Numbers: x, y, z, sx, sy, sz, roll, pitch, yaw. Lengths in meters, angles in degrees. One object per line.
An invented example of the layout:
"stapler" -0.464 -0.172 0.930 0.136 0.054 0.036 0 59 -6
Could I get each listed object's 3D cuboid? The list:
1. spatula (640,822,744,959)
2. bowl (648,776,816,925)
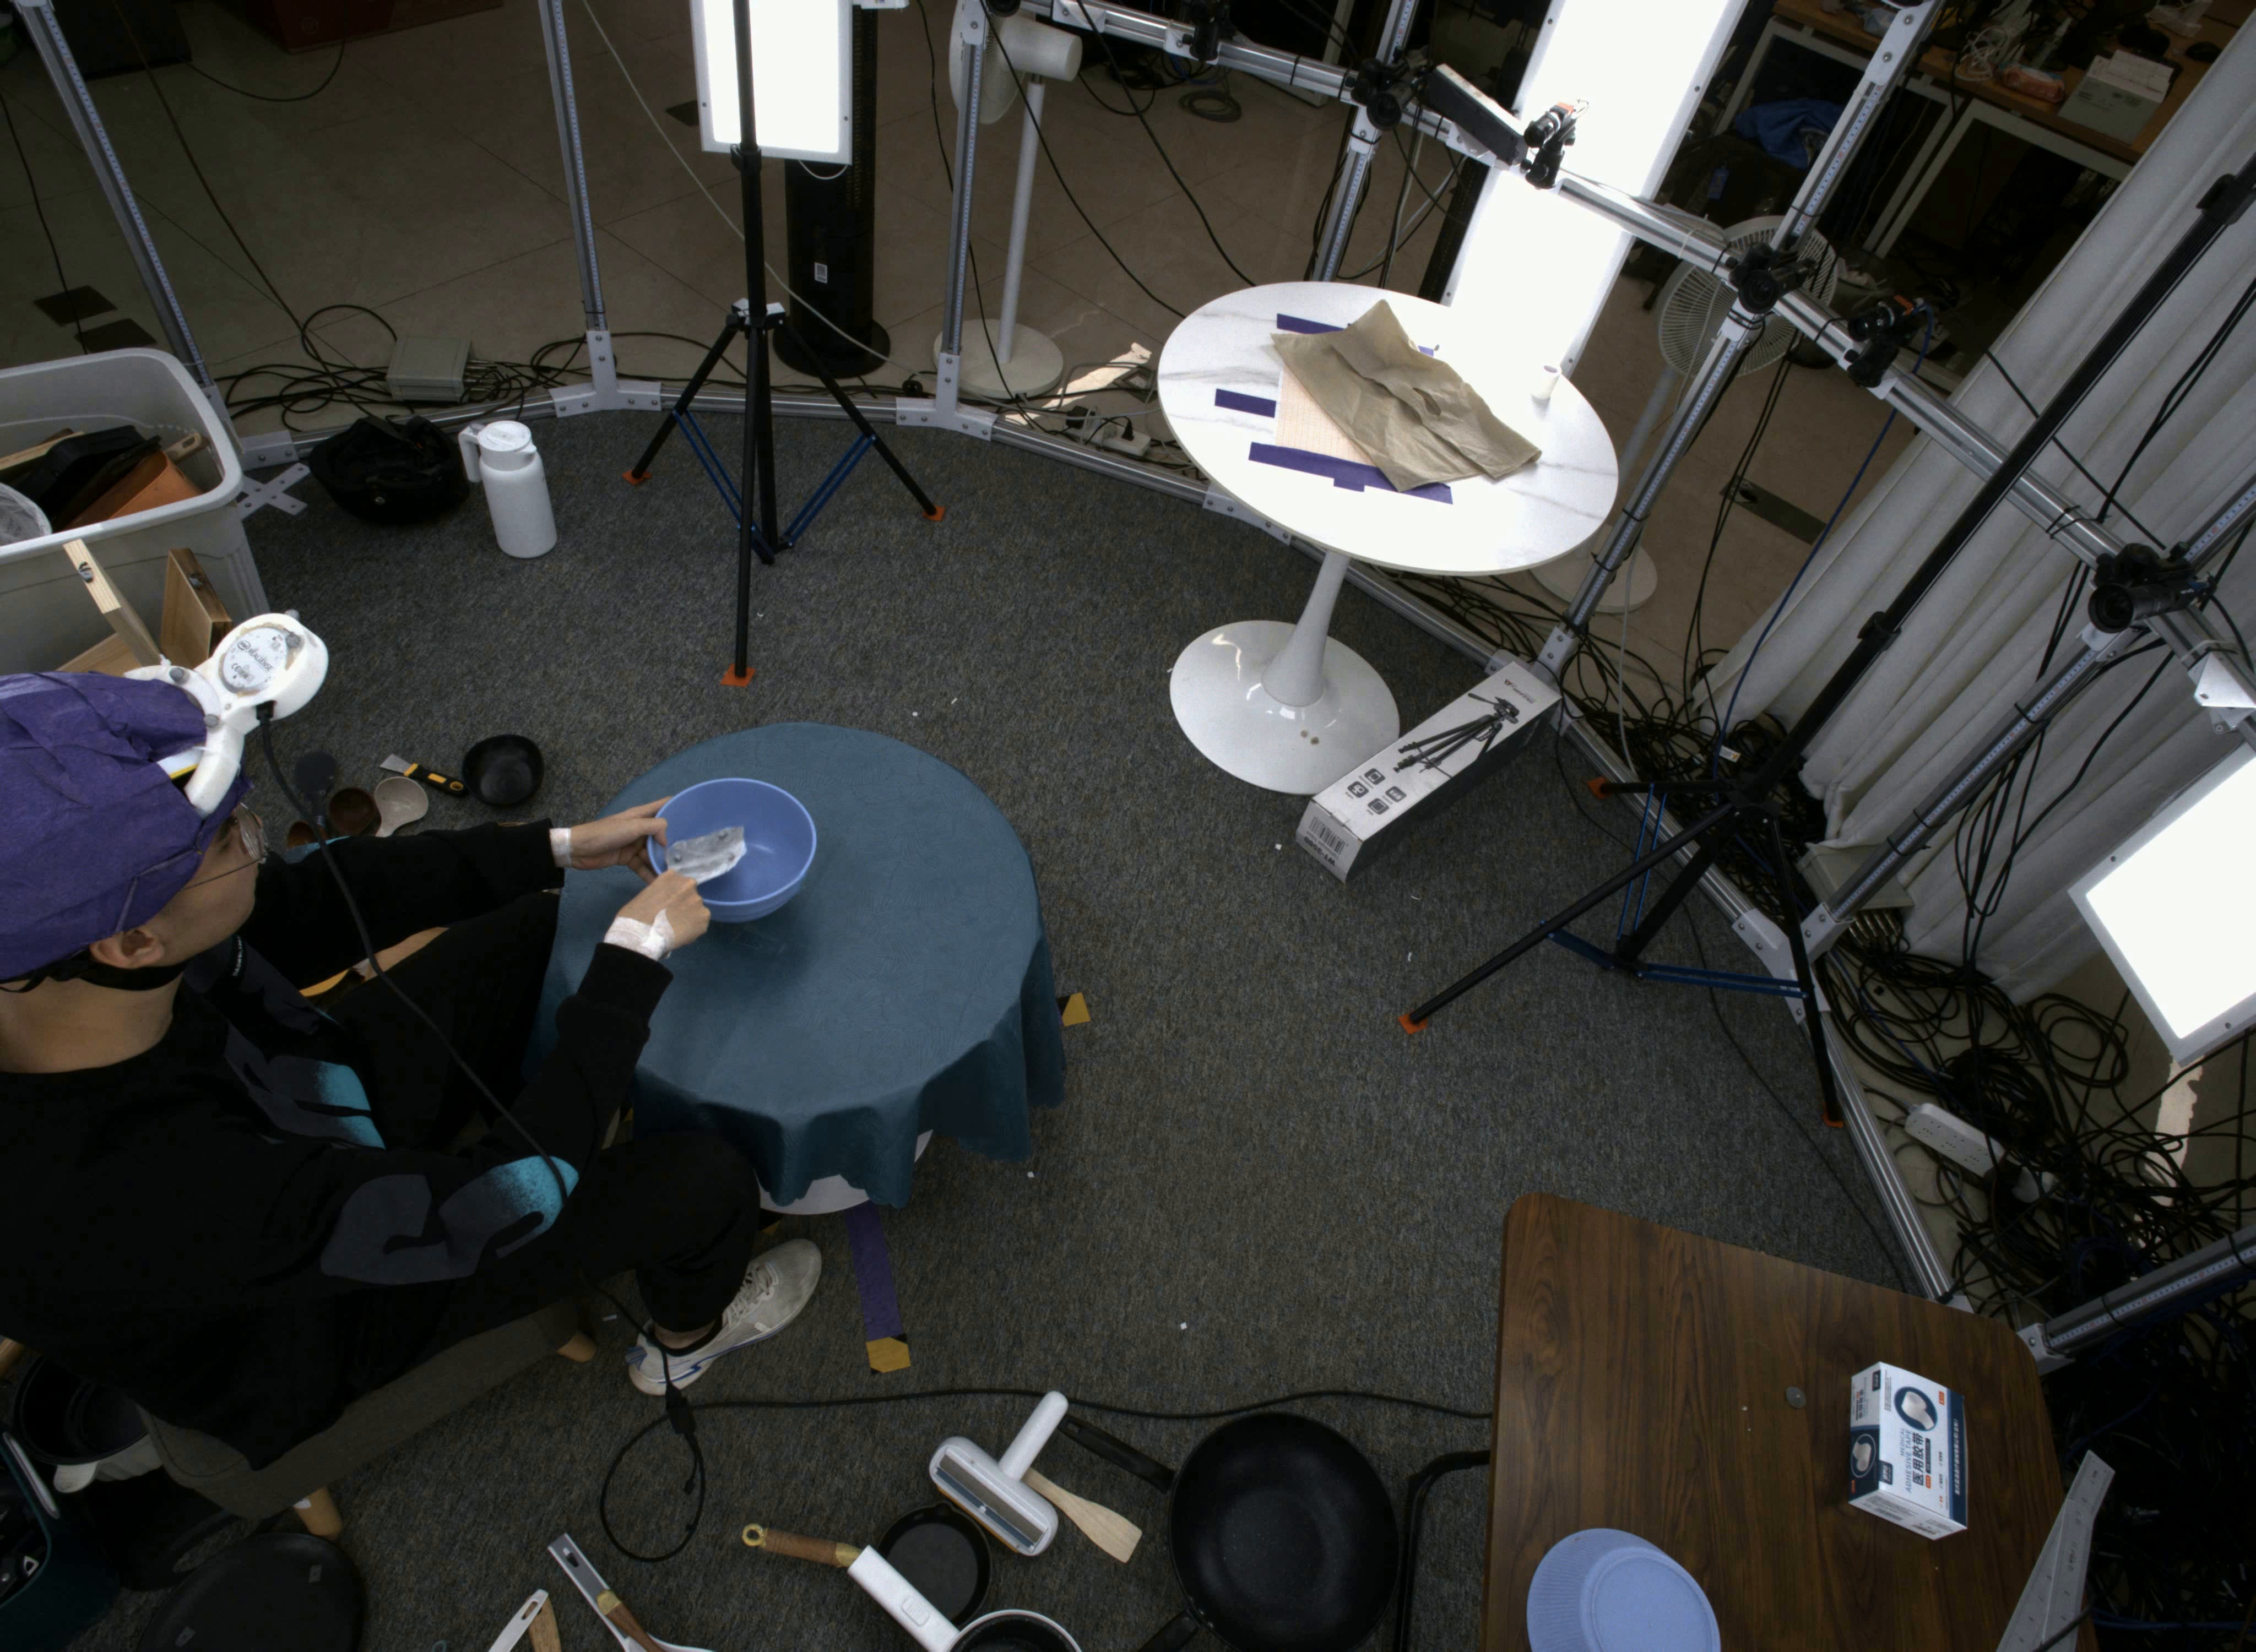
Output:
"spatula" -0.494 0.063 1.428 0.098 0.046 0.358 -14 15 -3
"bowl" -0.480 0.044 1.576 0.196 0.097 0.193 9 51 -9
